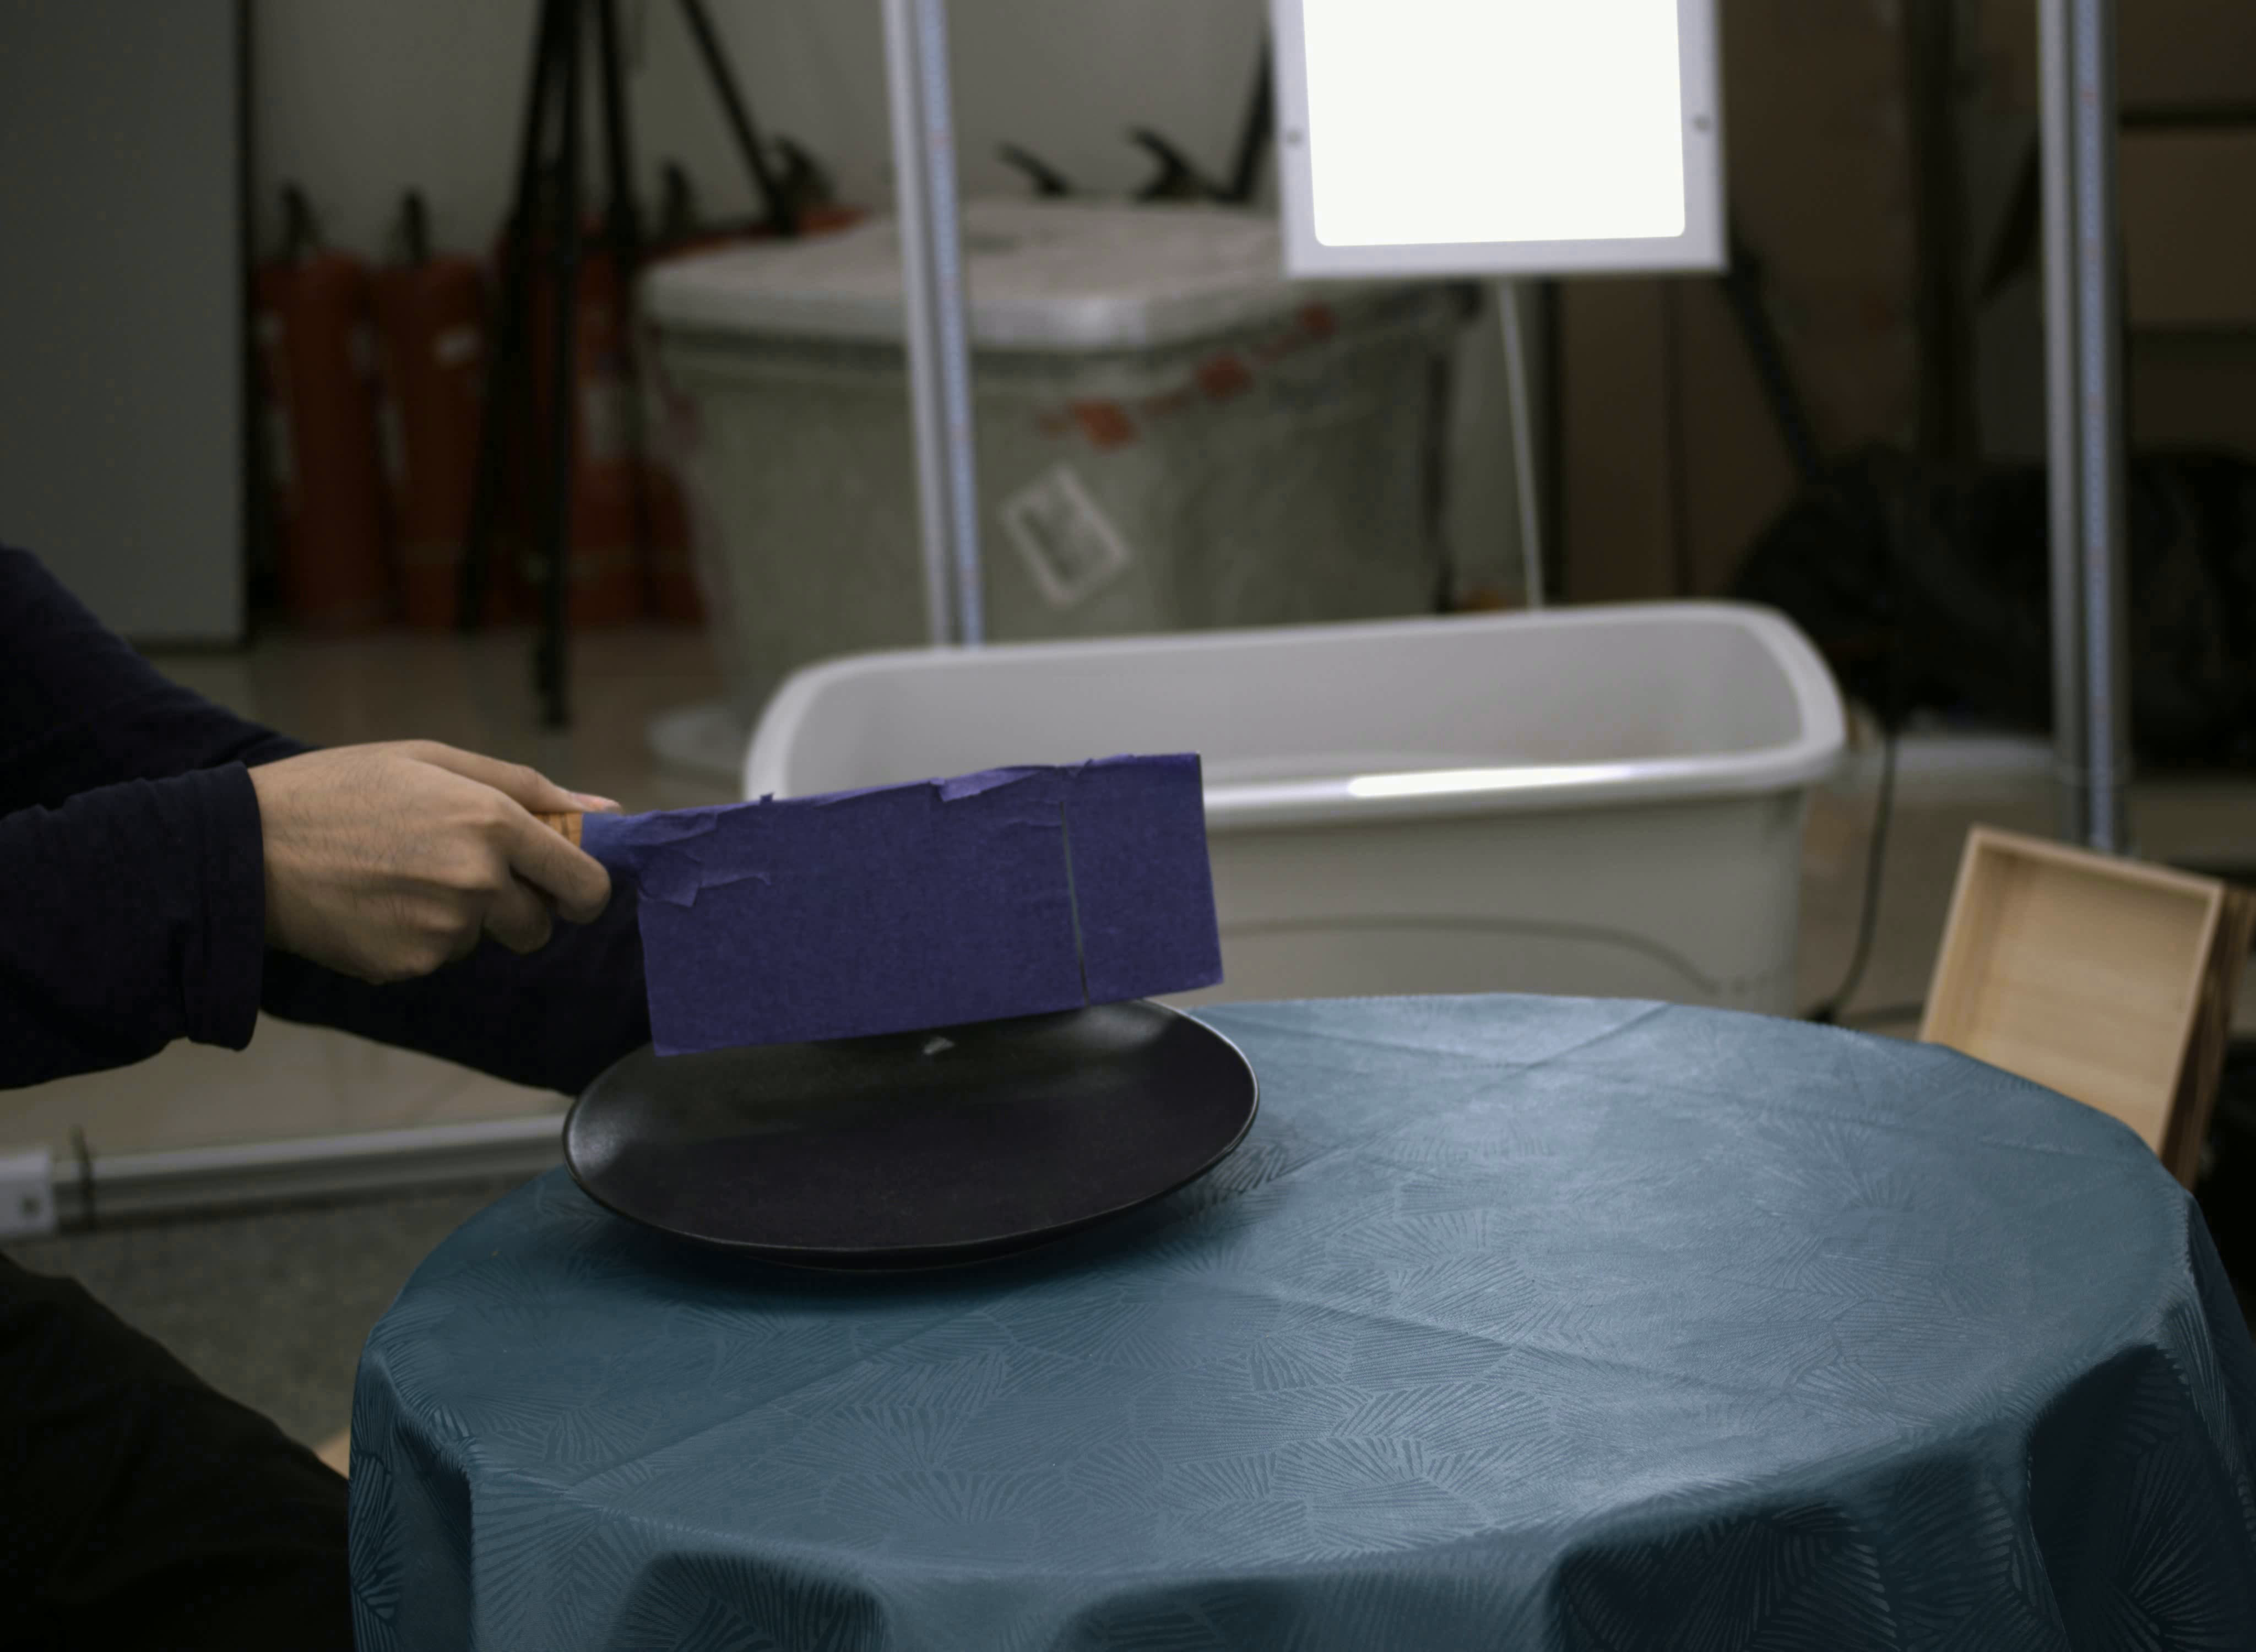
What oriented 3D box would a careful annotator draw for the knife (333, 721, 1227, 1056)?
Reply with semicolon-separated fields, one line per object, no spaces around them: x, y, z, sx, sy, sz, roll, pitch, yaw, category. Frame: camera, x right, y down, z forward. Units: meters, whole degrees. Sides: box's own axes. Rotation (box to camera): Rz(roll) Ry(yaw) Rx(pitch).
-0.120;0.033;1.955;0.313;0.104;0.032;-7;13;-3;knife

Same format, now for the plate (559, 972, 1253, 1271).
-0.077;0.105;1.922;0.244;0.023;0.244;-5;22;1;plate
